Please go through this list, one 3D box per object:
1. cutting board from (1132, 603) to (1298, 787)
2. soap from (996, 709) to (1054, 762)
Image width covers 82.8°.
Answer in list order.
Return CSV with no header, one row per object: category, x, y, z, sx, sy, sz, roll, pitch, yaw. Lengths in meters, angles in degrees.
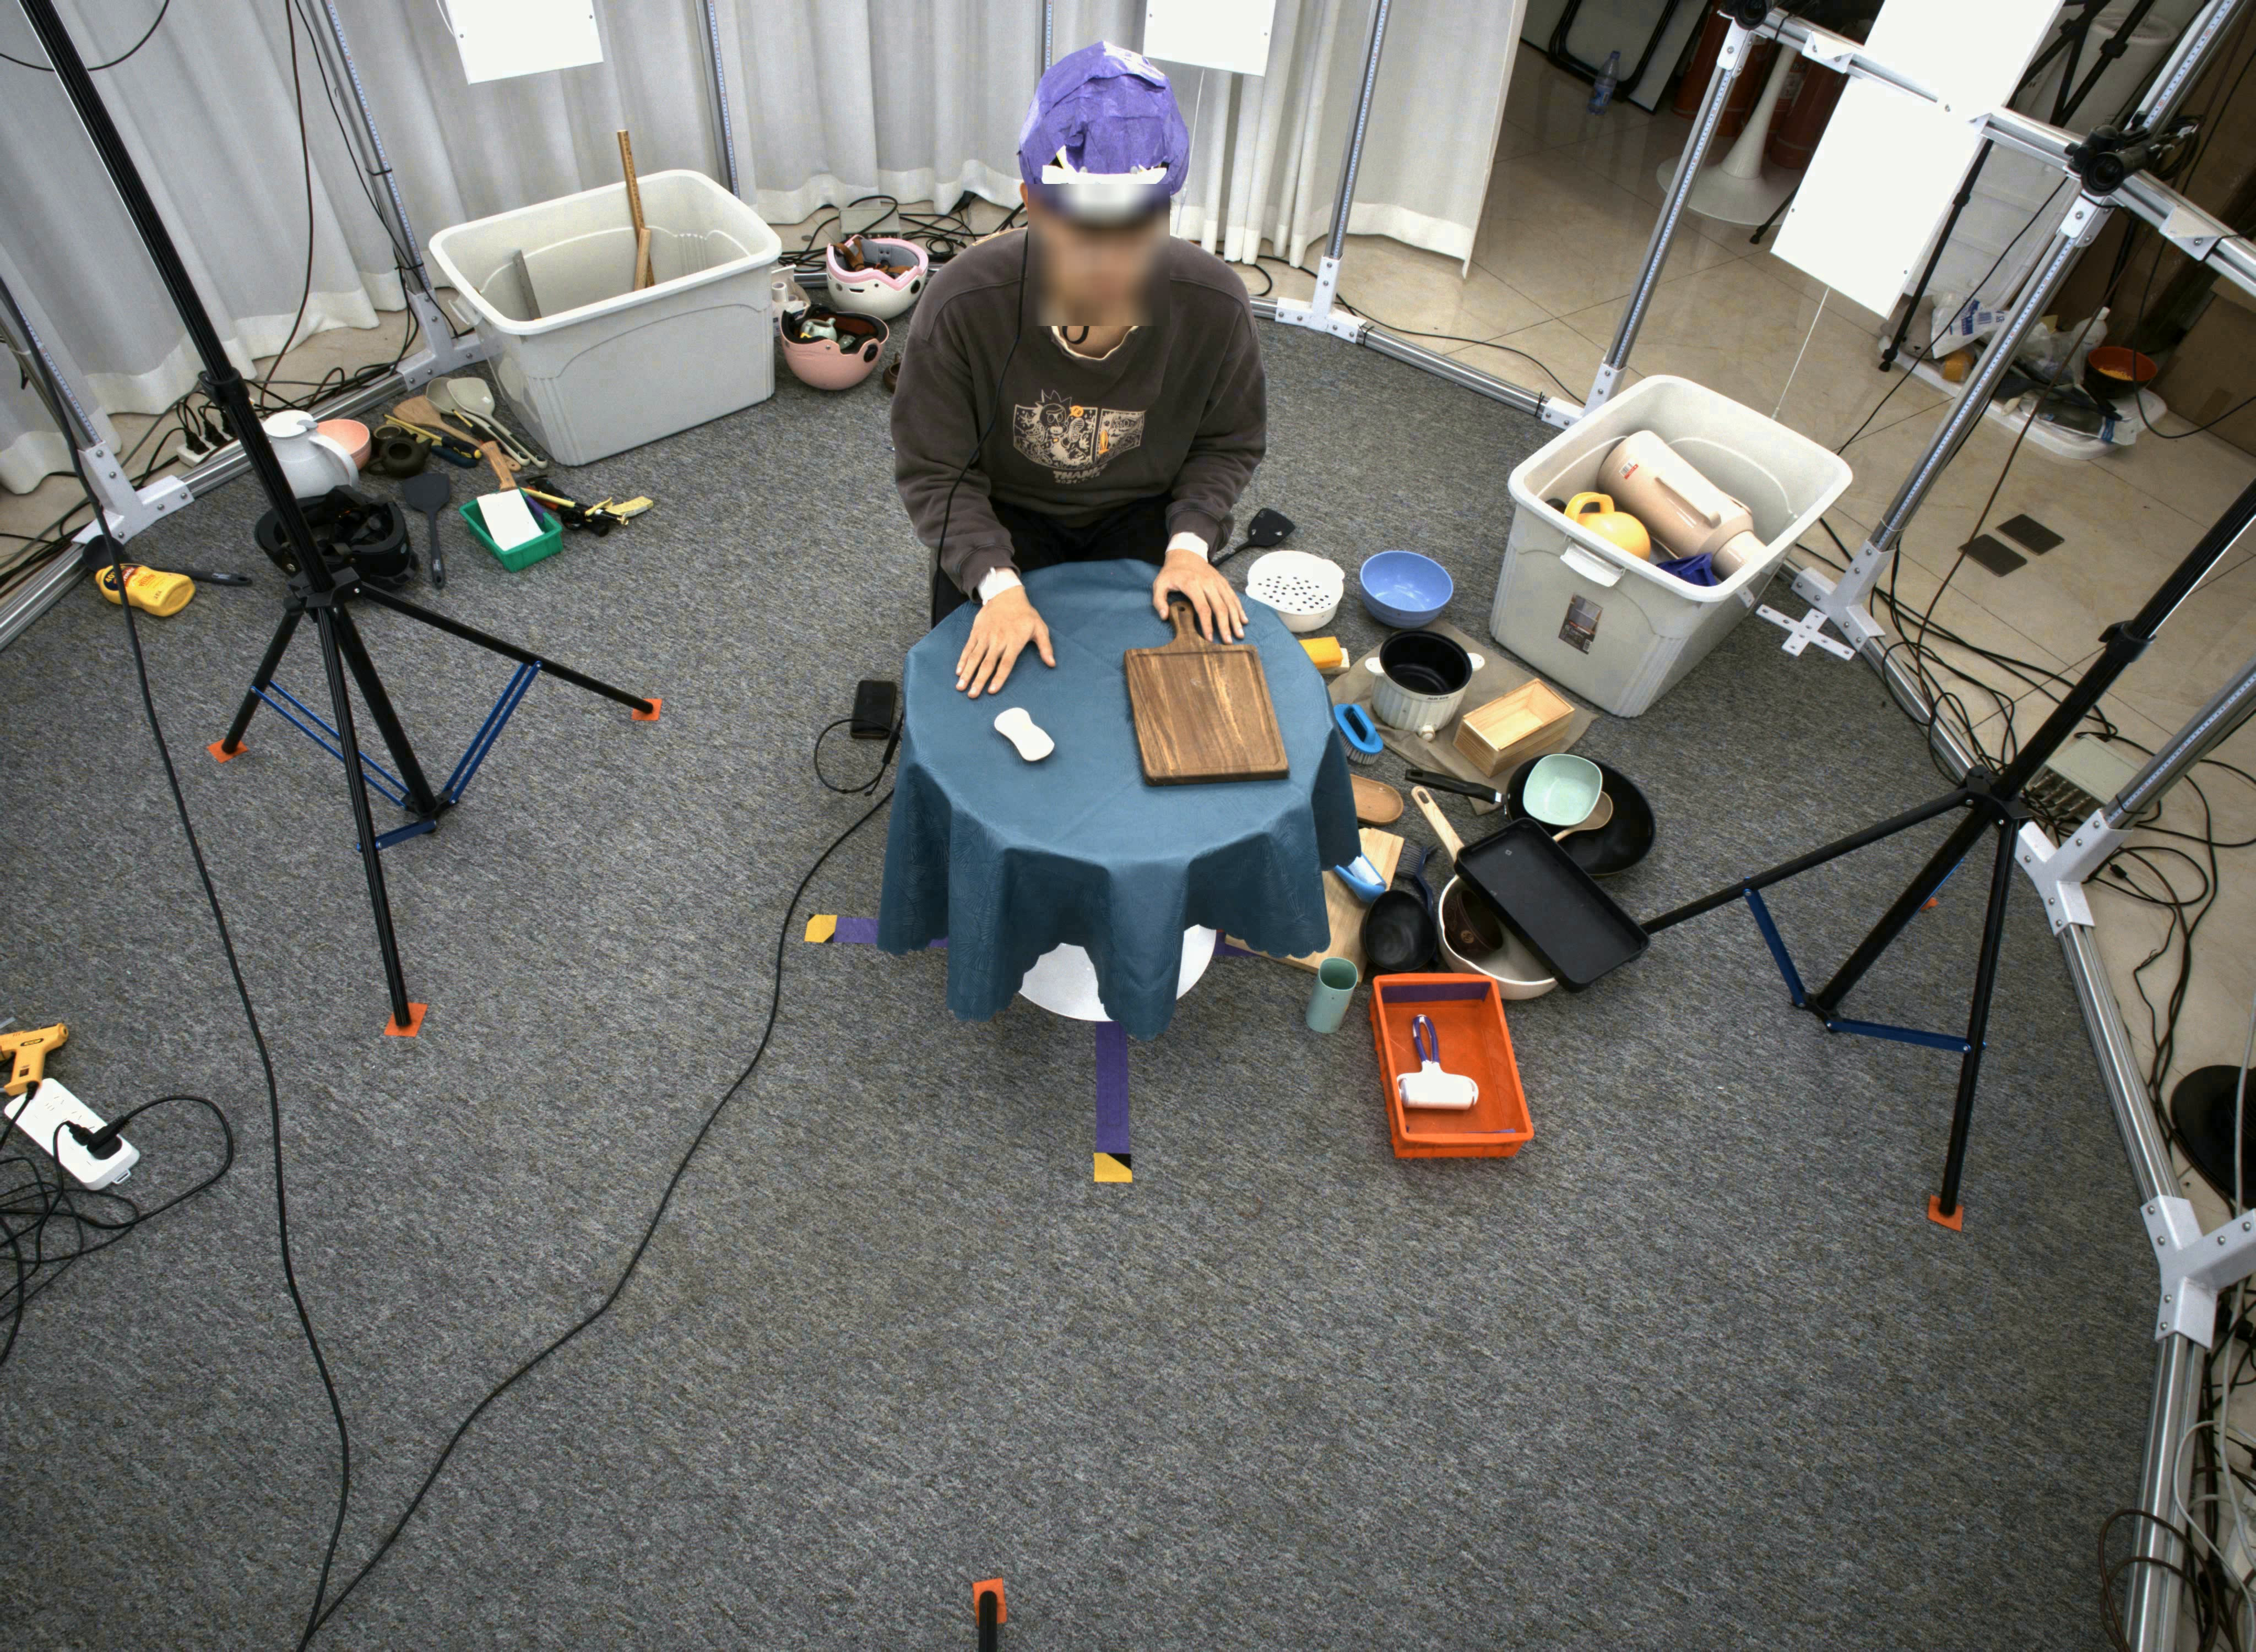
cutting board,0.113,-0.196,1.830,0.201,0.022,0.361,-3,49,-6
soap,-0.141,-0.124,1.747,0.050,0.029,0.096,-25,53,-24
